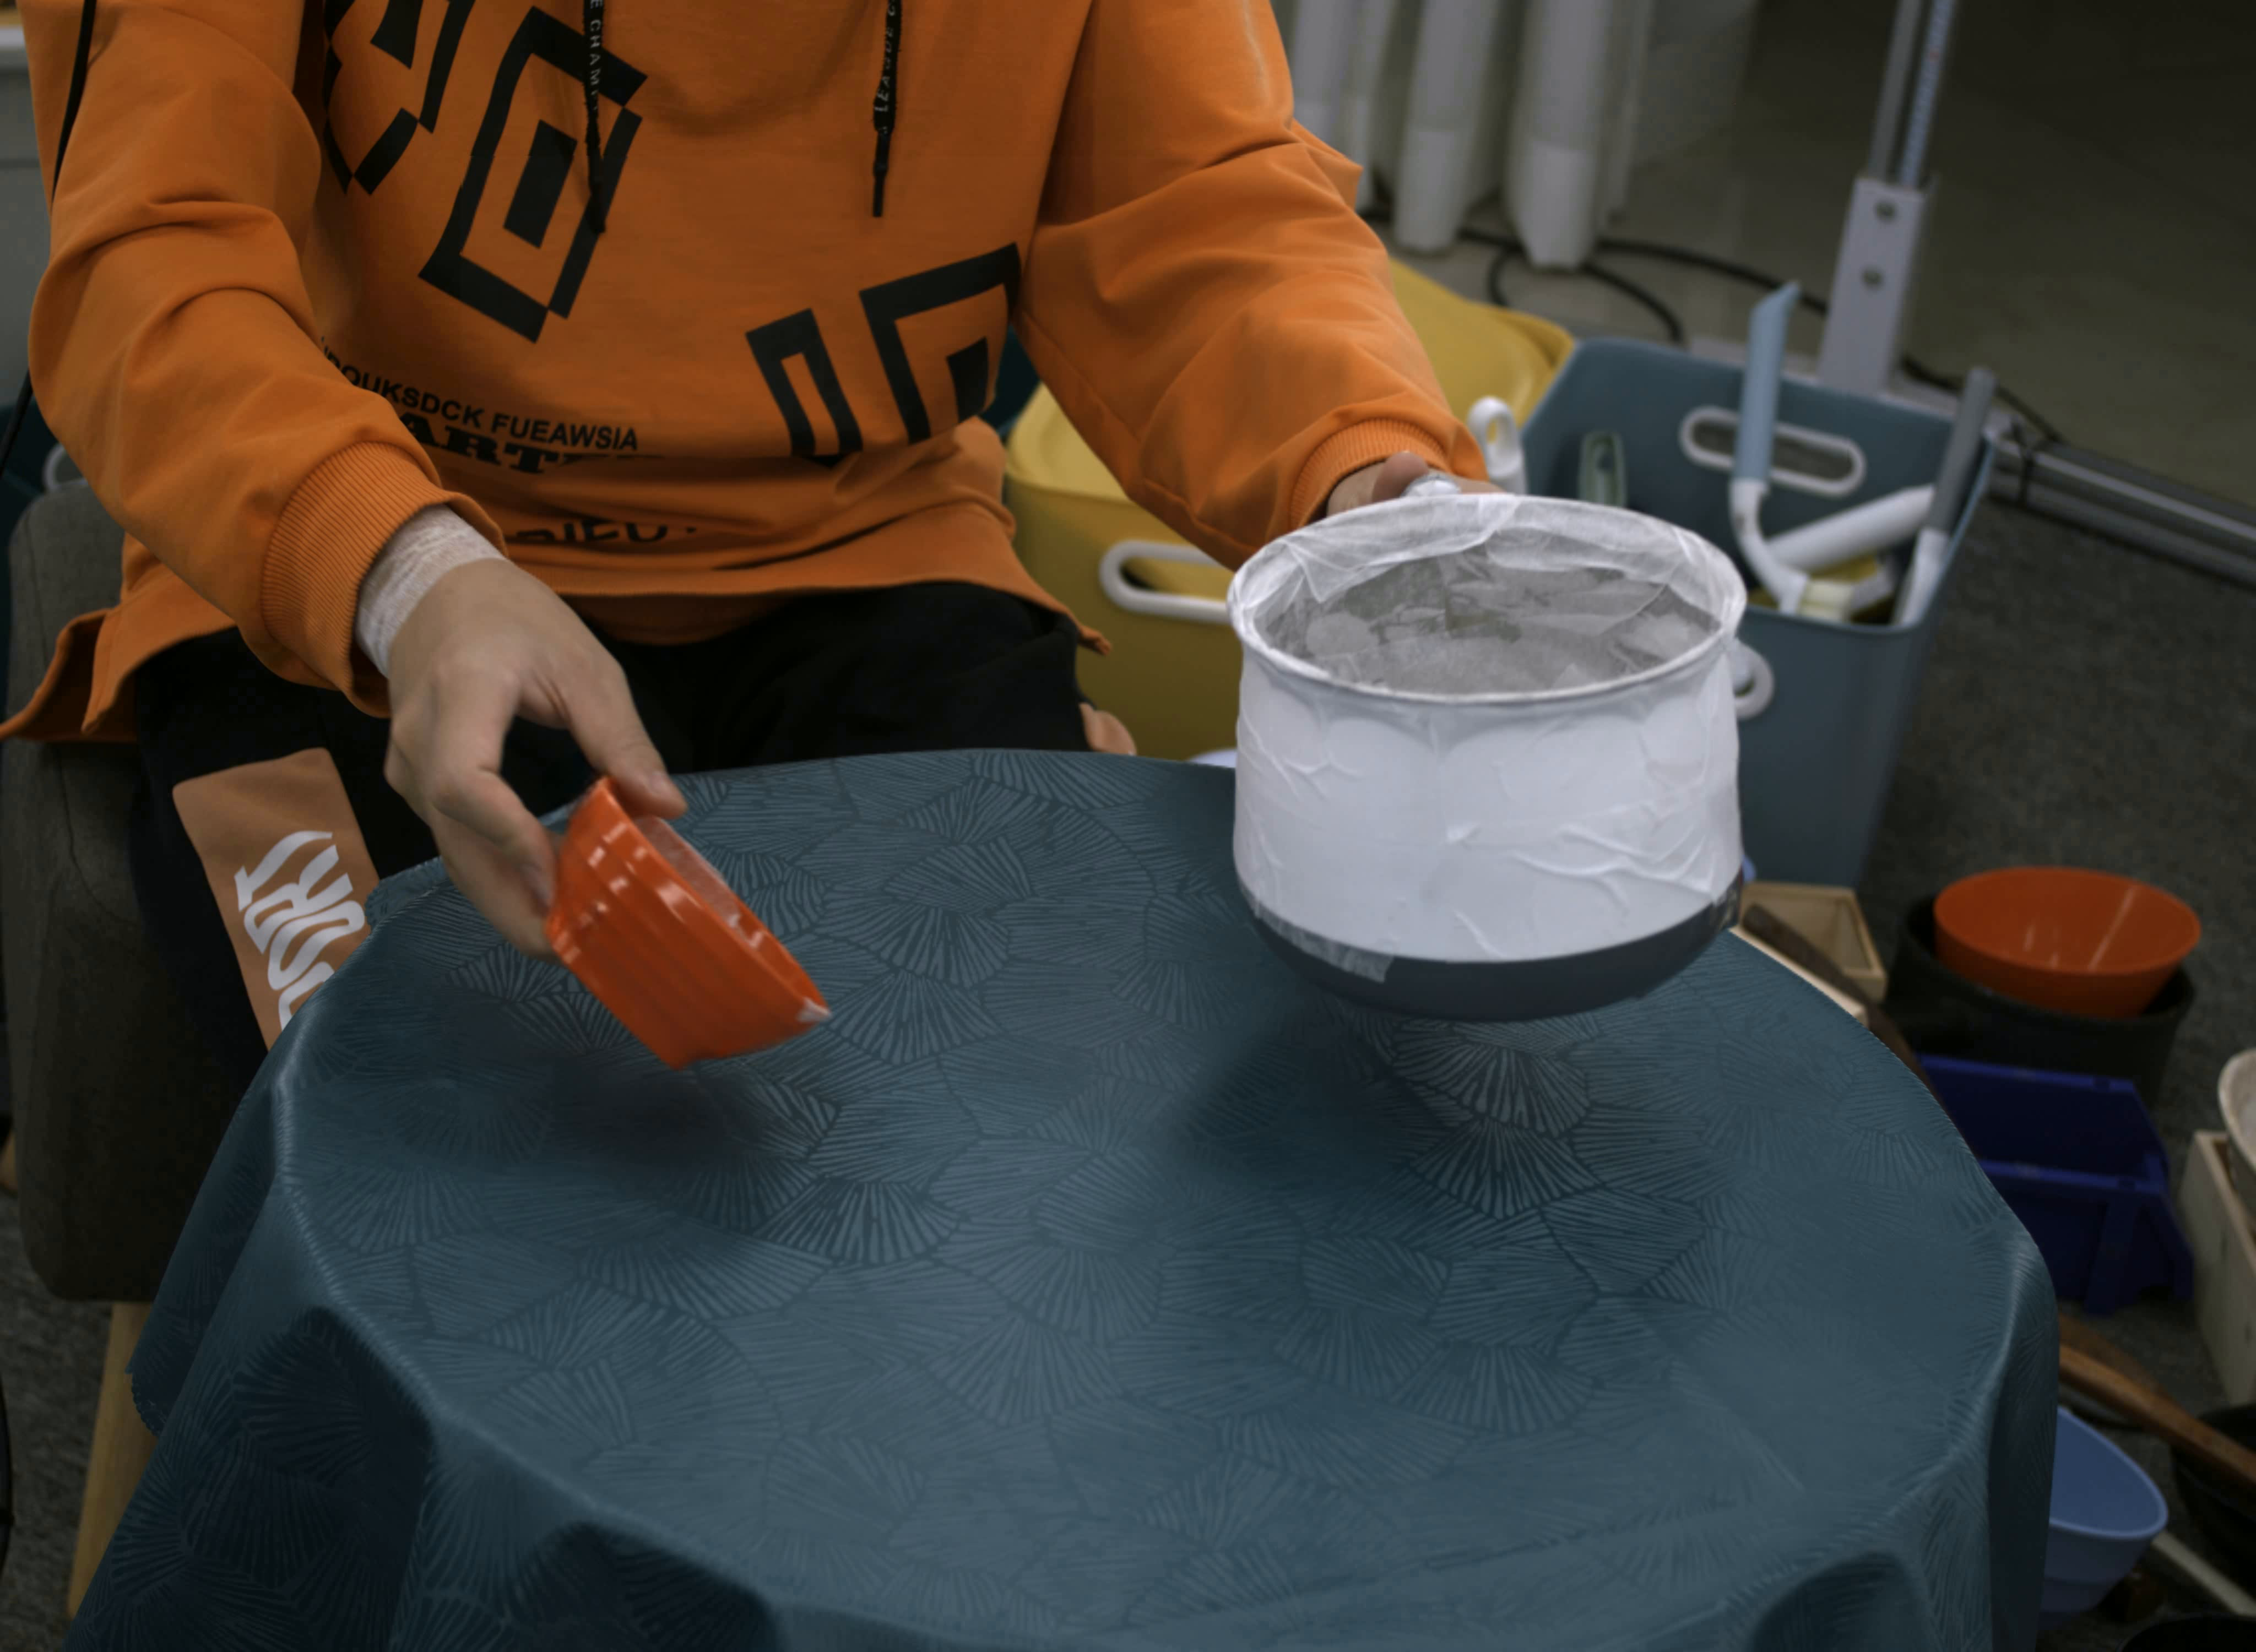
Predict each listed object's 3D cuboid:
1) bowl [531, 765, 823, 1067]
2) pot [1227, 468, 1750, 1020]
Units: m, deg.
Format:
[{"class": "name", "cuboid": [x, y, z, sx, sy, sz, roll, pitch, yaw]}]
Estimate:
[{"class": "bowl", "cuboid": [-0.158, 0.037, 1.781, 0.119, 0.051, 0.119, 46, 2, -3]}, {"class": "pot", "cuboid": [0.120, -0.035, 1.855, 0.178, 0.136, 0.235, -5, 25, -7]}]
